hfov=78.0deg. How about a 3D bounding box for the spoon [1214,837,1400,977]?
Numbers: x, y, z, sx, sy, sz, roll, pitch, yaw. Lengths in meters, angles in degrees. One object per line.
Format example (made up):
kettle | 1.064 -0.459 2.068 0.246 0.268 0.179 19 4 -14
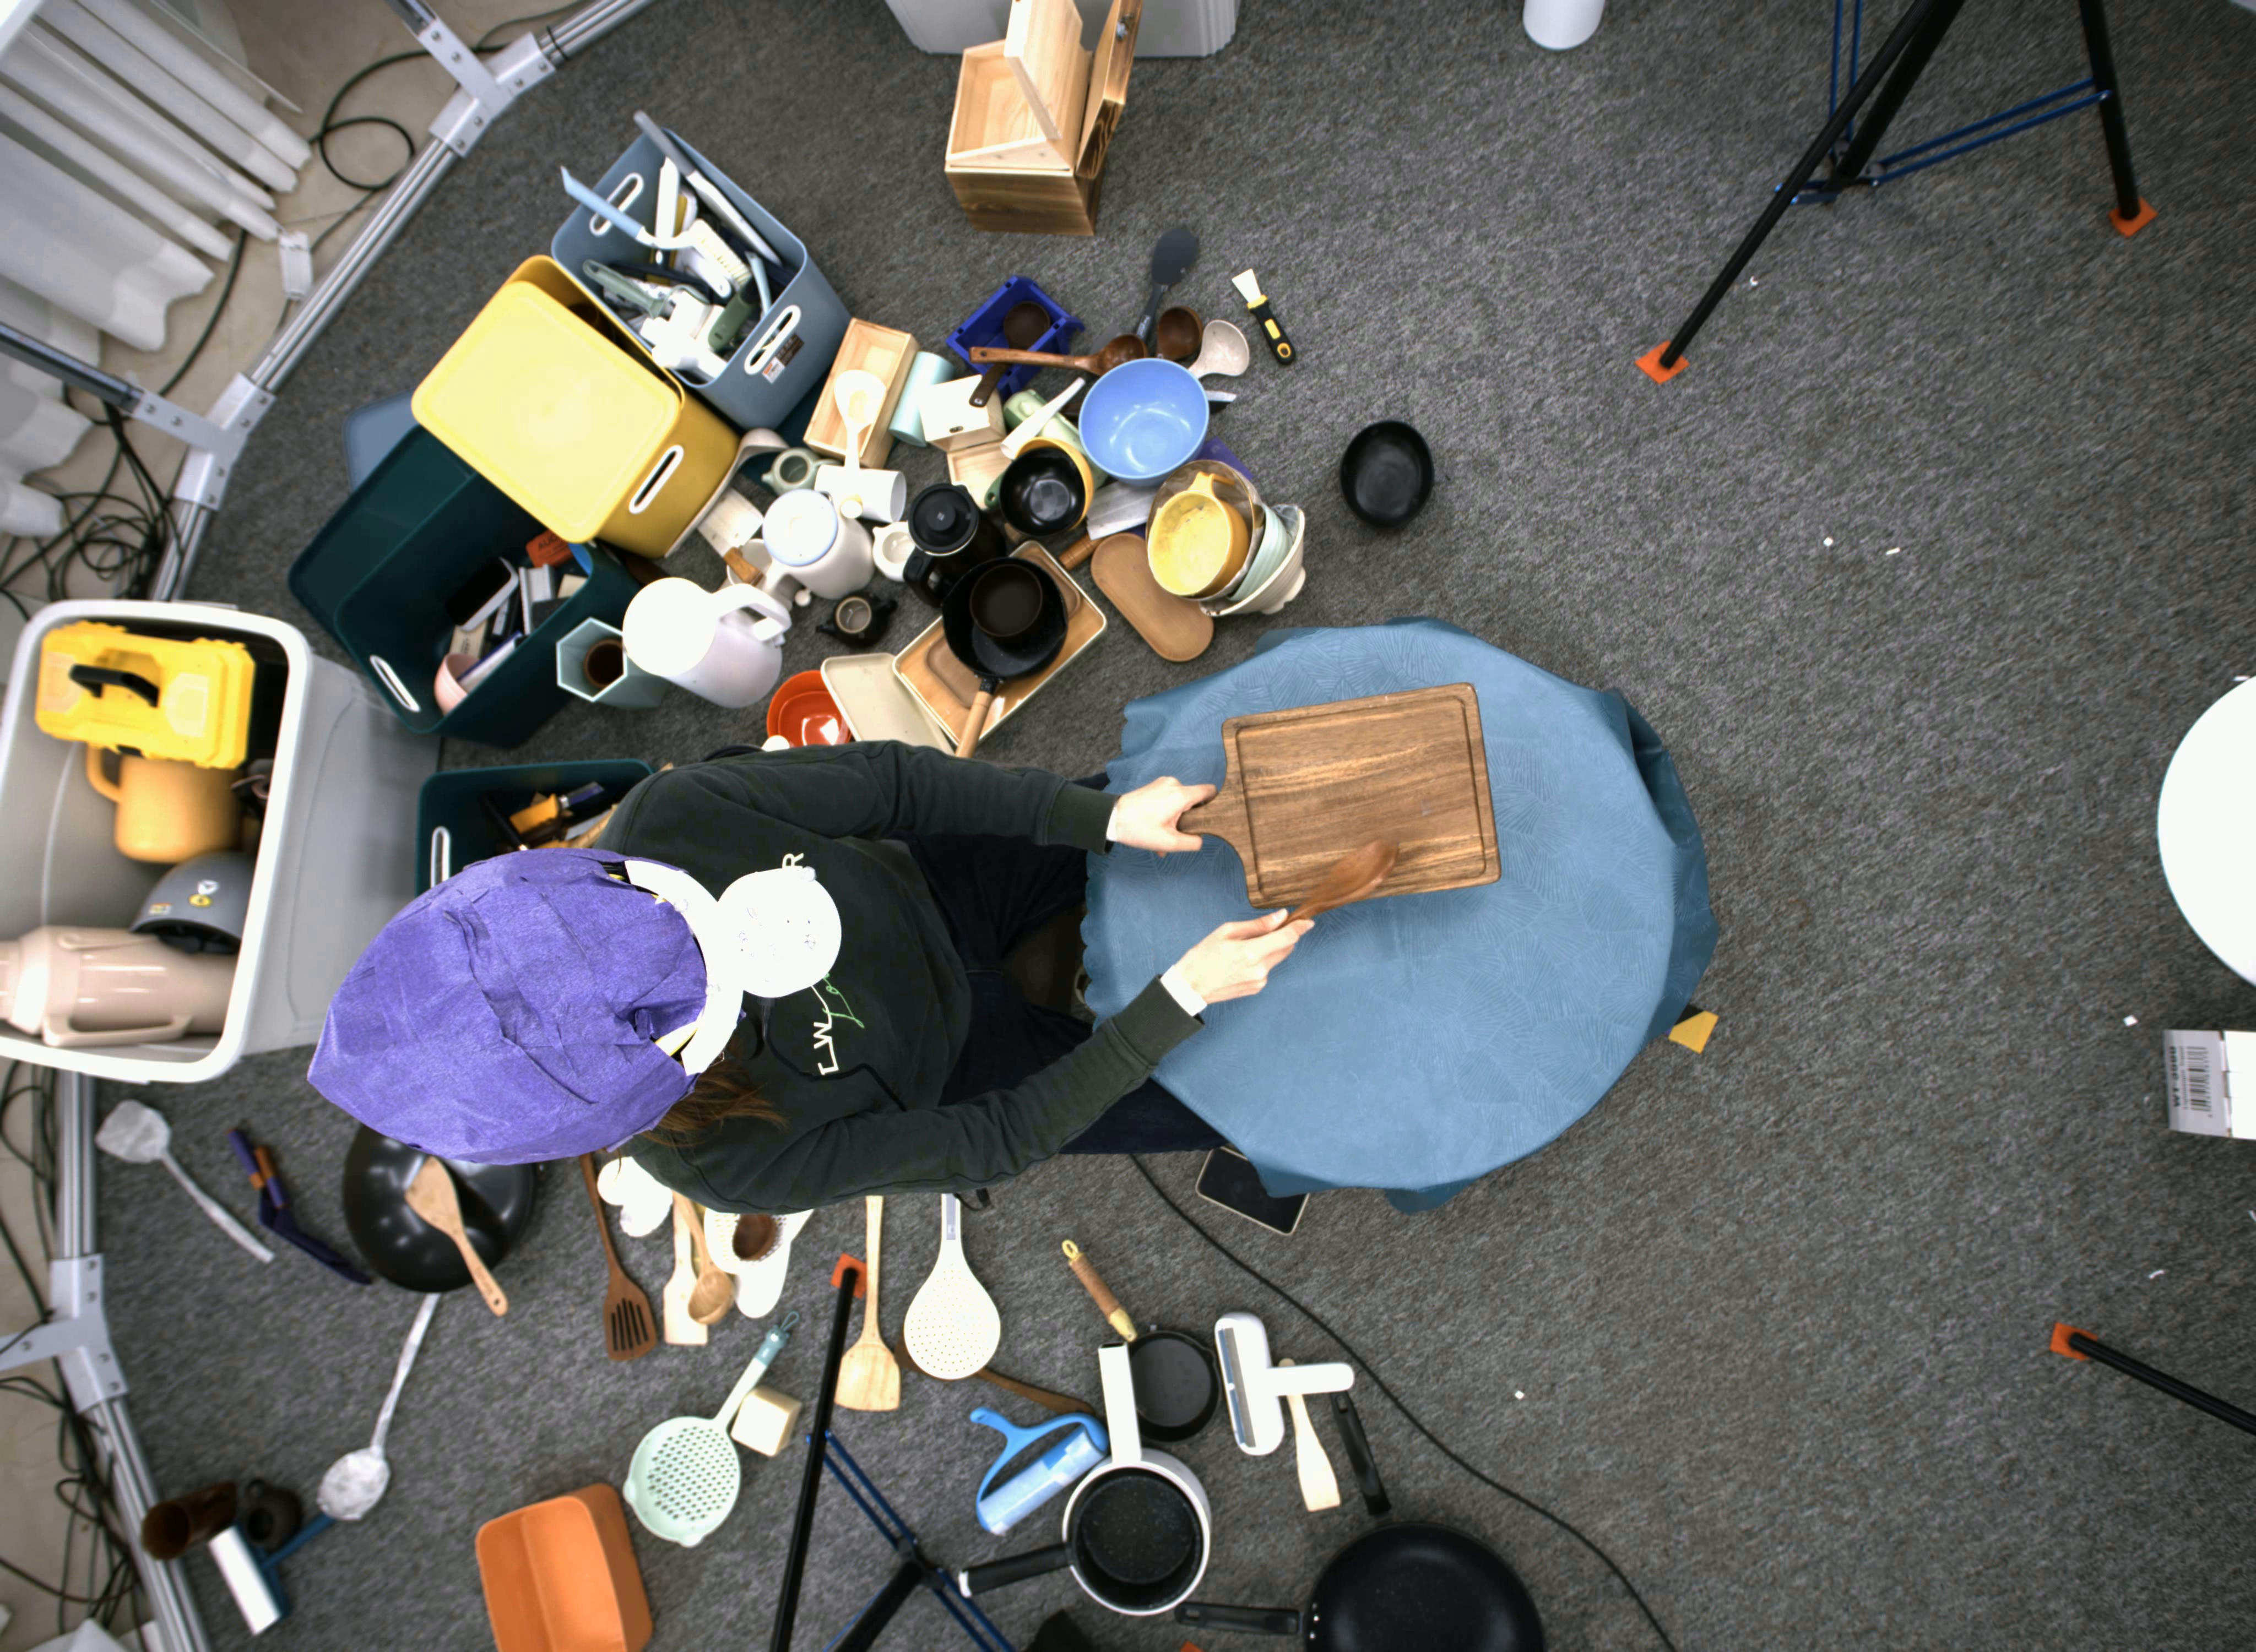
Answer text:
spoon | 0.172 0.081 1.327 0.218 0.074 0.017 -35 116 15

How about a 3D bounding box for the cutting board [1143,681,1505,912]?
cutting board | 0.184 -0.021 1.371 0.355 0.023 0.202 -8 100 19
